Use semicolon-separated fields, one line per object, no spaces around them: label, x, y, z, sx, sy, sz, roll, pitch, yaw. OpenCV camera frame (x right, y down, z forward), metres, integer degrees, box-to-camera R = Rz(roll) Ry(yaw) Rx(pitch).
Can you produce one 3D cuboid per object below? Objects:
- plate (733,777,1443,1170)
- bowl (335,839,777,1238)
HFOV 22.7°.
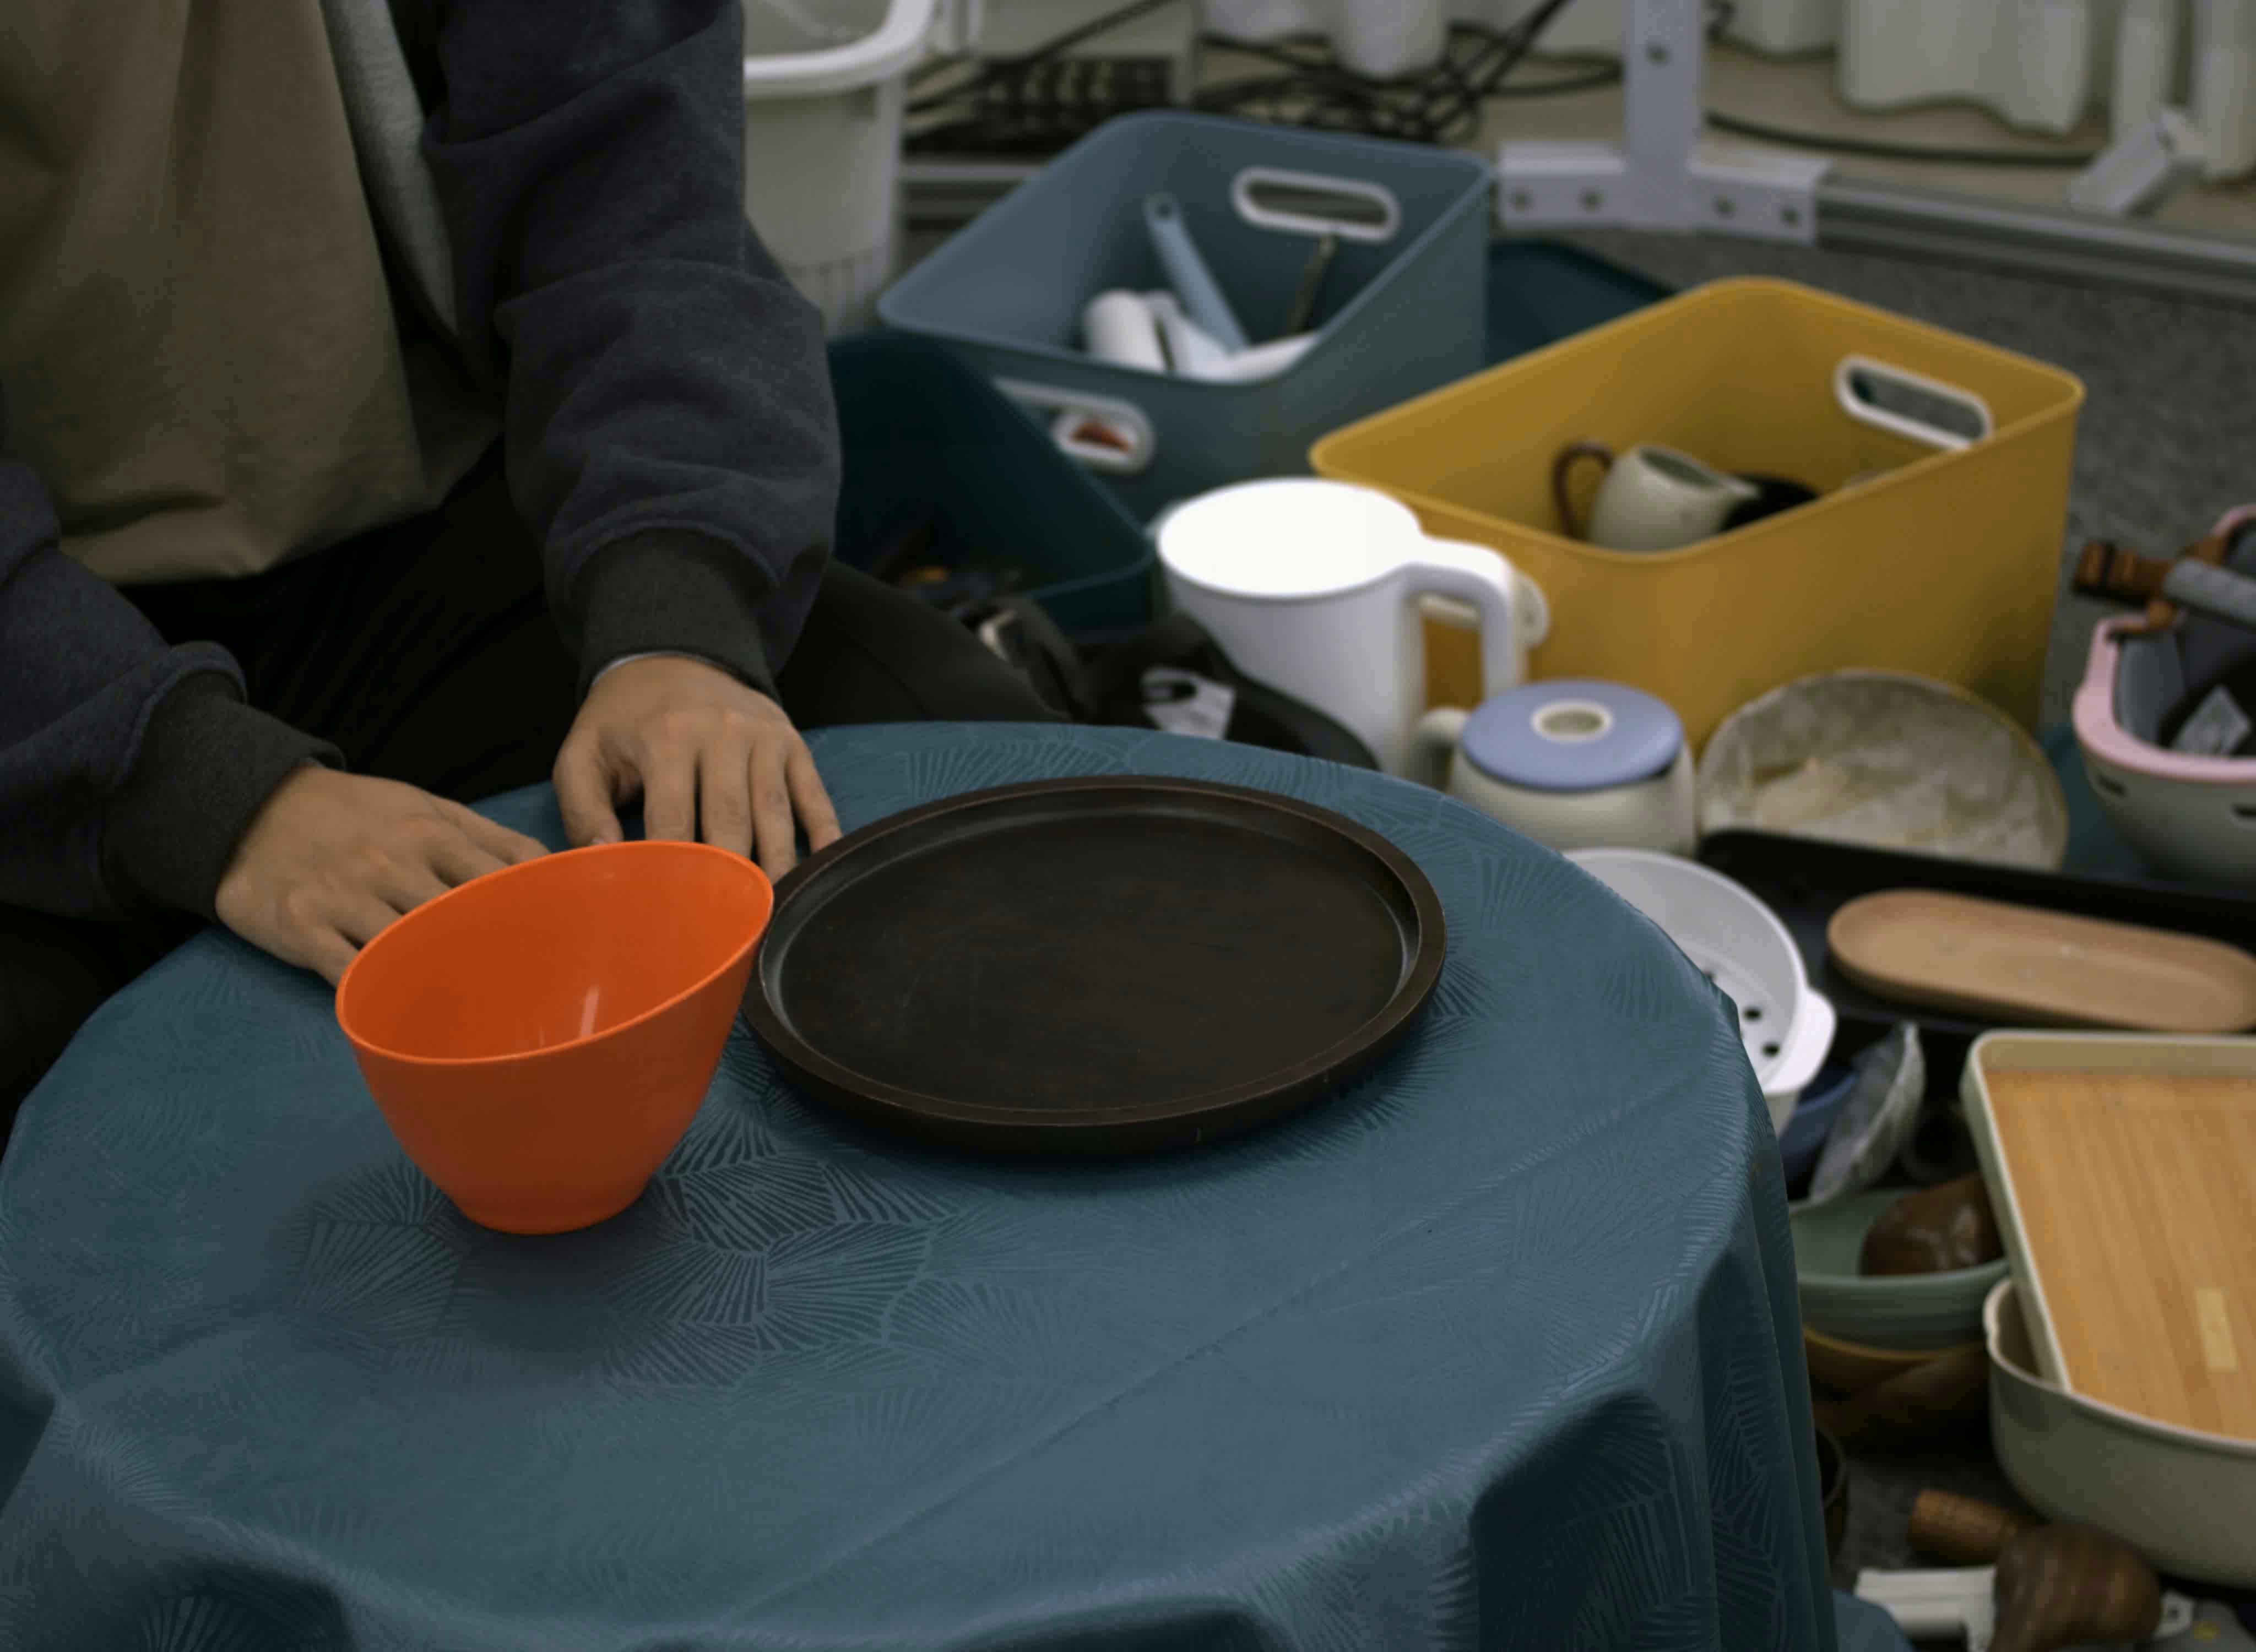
plate;-0.014;0.050;1.978;0.253;0.029;0.259;-3;28;2
bowl;-0.186;0.077;1.858;0.147;0.103;0.150;-2;29;2
